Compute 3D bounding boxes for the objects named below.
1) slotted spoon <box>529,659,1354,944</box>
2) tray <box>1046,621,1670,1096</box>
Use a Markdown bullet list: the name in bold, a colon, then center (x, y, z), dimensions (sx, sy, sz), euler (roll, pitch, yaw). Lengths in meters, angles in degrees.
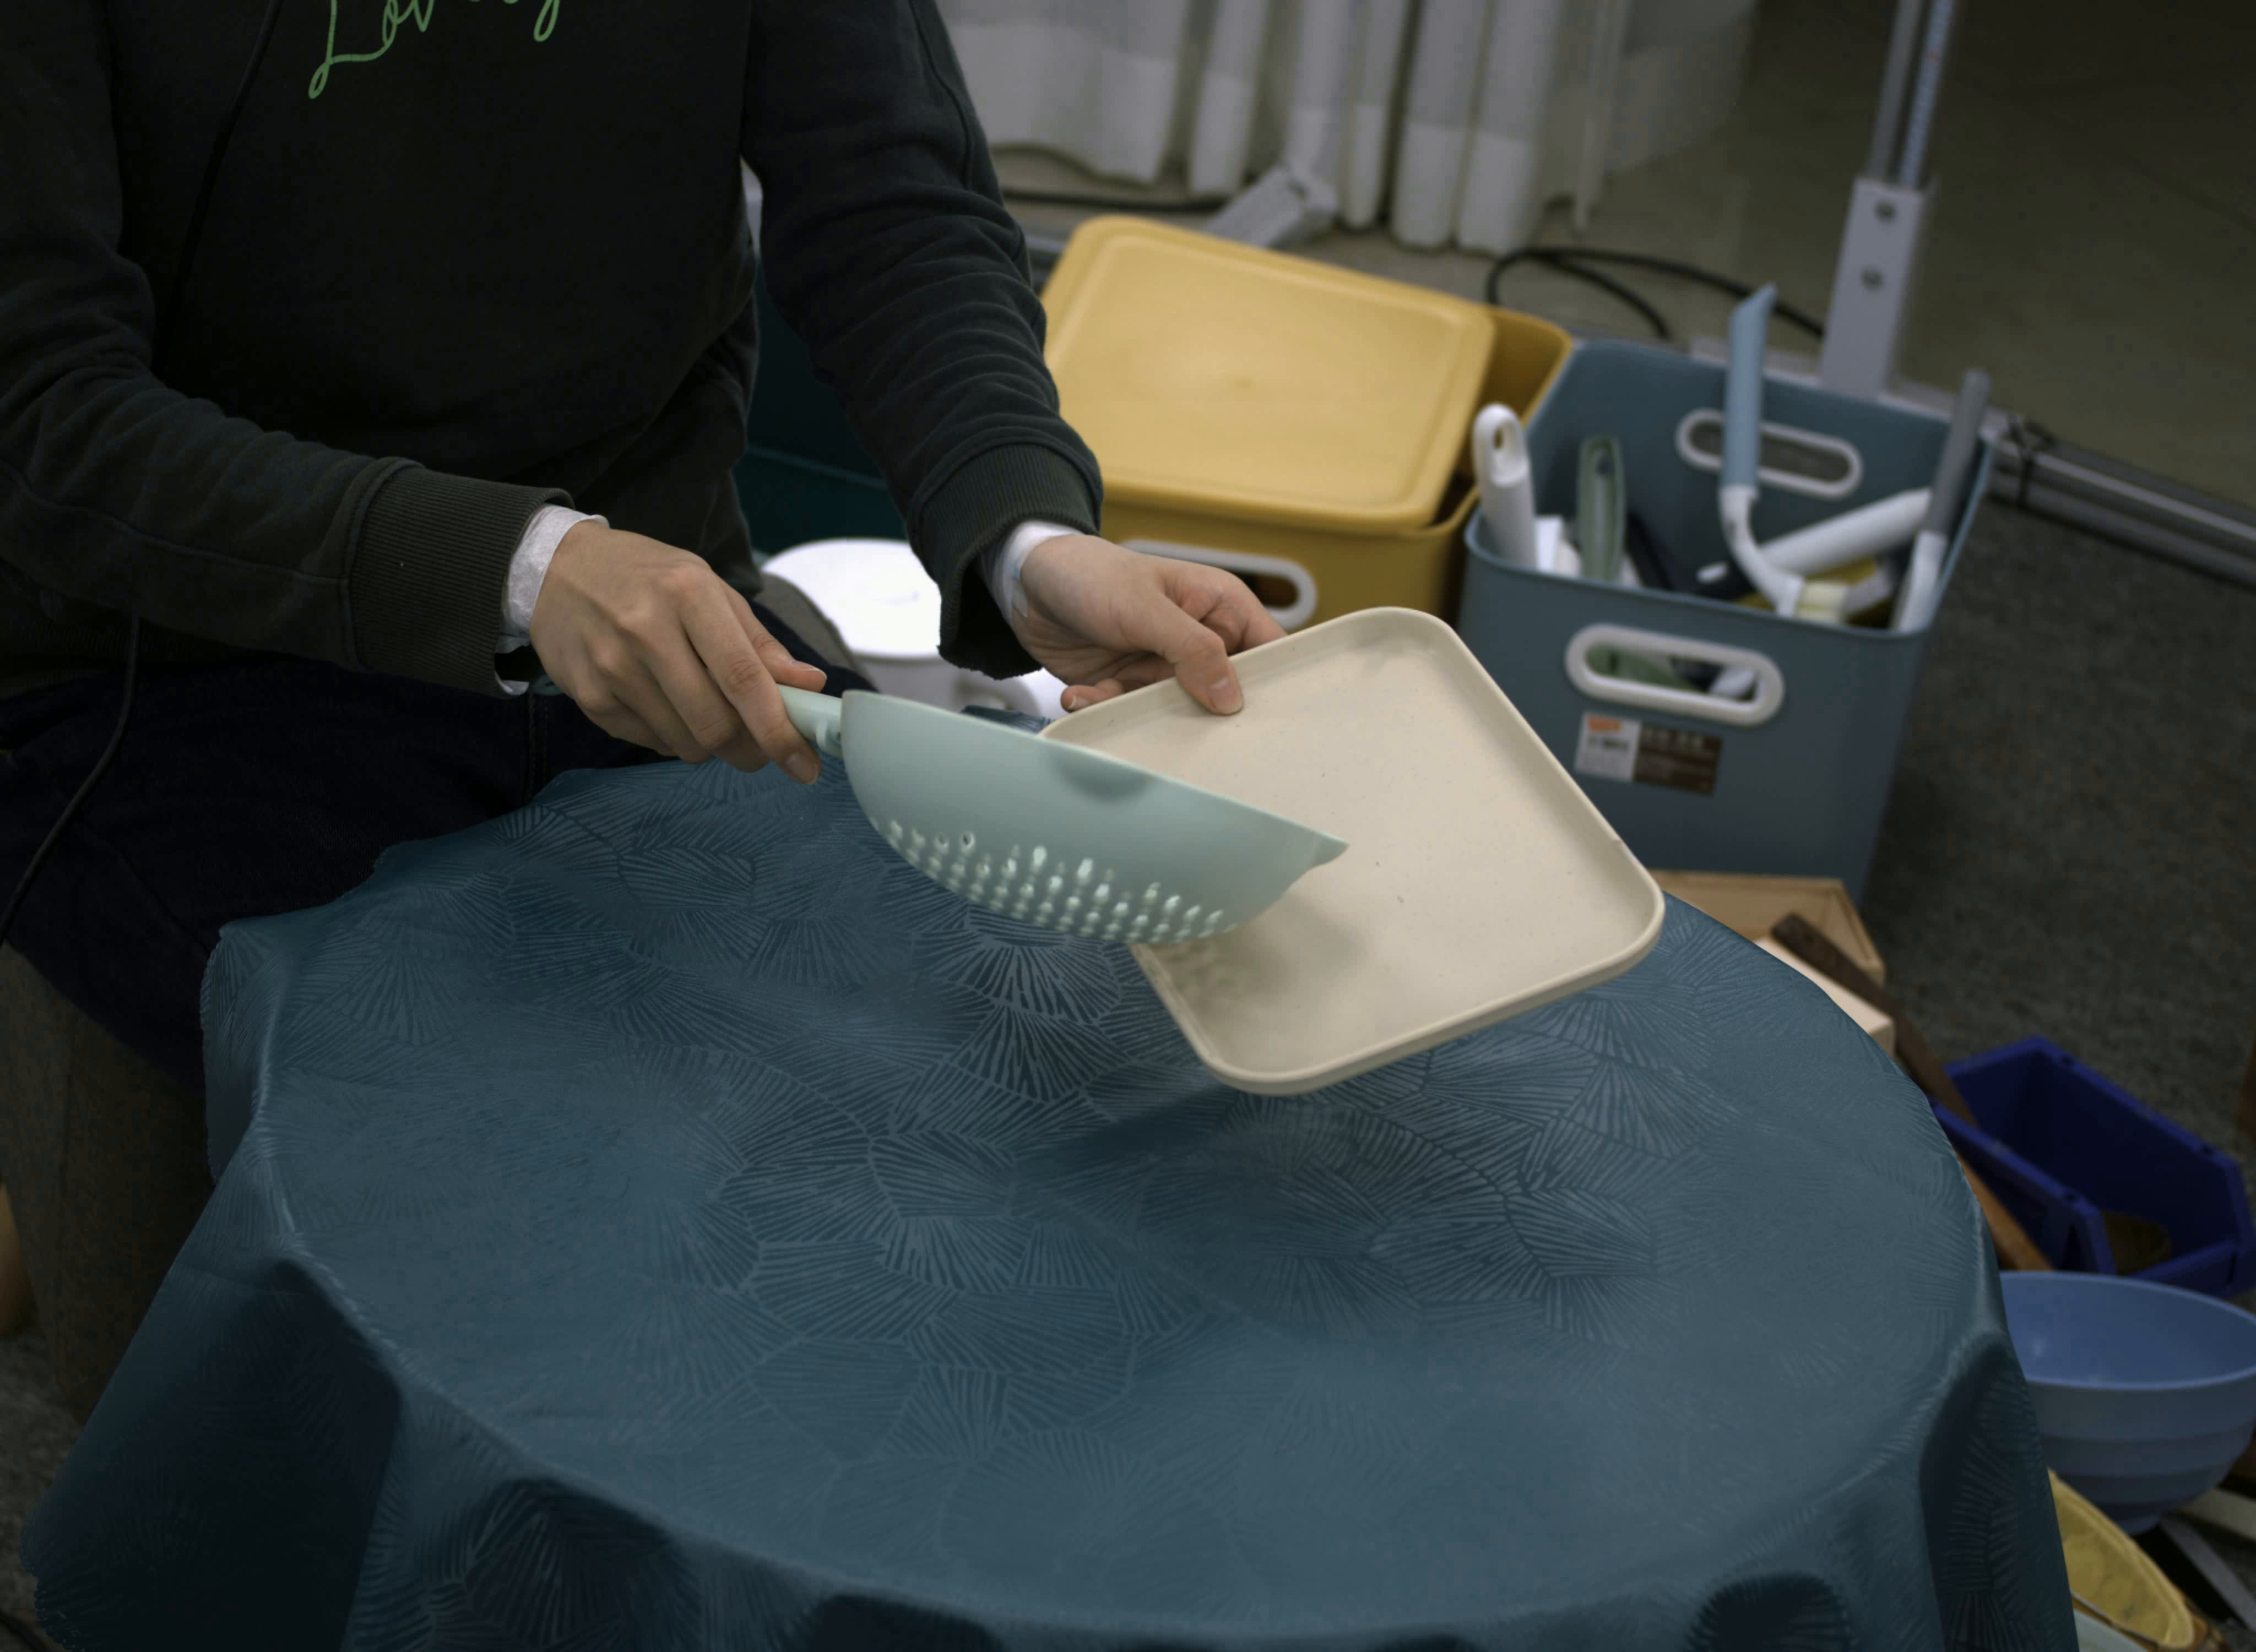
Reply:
- **slotted spoon**: center (-0.087, -0.024, 1.854), dimensions (0.361, 0.075, 0.168), euler (23, 1, 44)
- **tray**: center (0.073, 0.010, 1.856), dimensions (0.170, 0.017, 0.242), euler (-20, 35, -11)
